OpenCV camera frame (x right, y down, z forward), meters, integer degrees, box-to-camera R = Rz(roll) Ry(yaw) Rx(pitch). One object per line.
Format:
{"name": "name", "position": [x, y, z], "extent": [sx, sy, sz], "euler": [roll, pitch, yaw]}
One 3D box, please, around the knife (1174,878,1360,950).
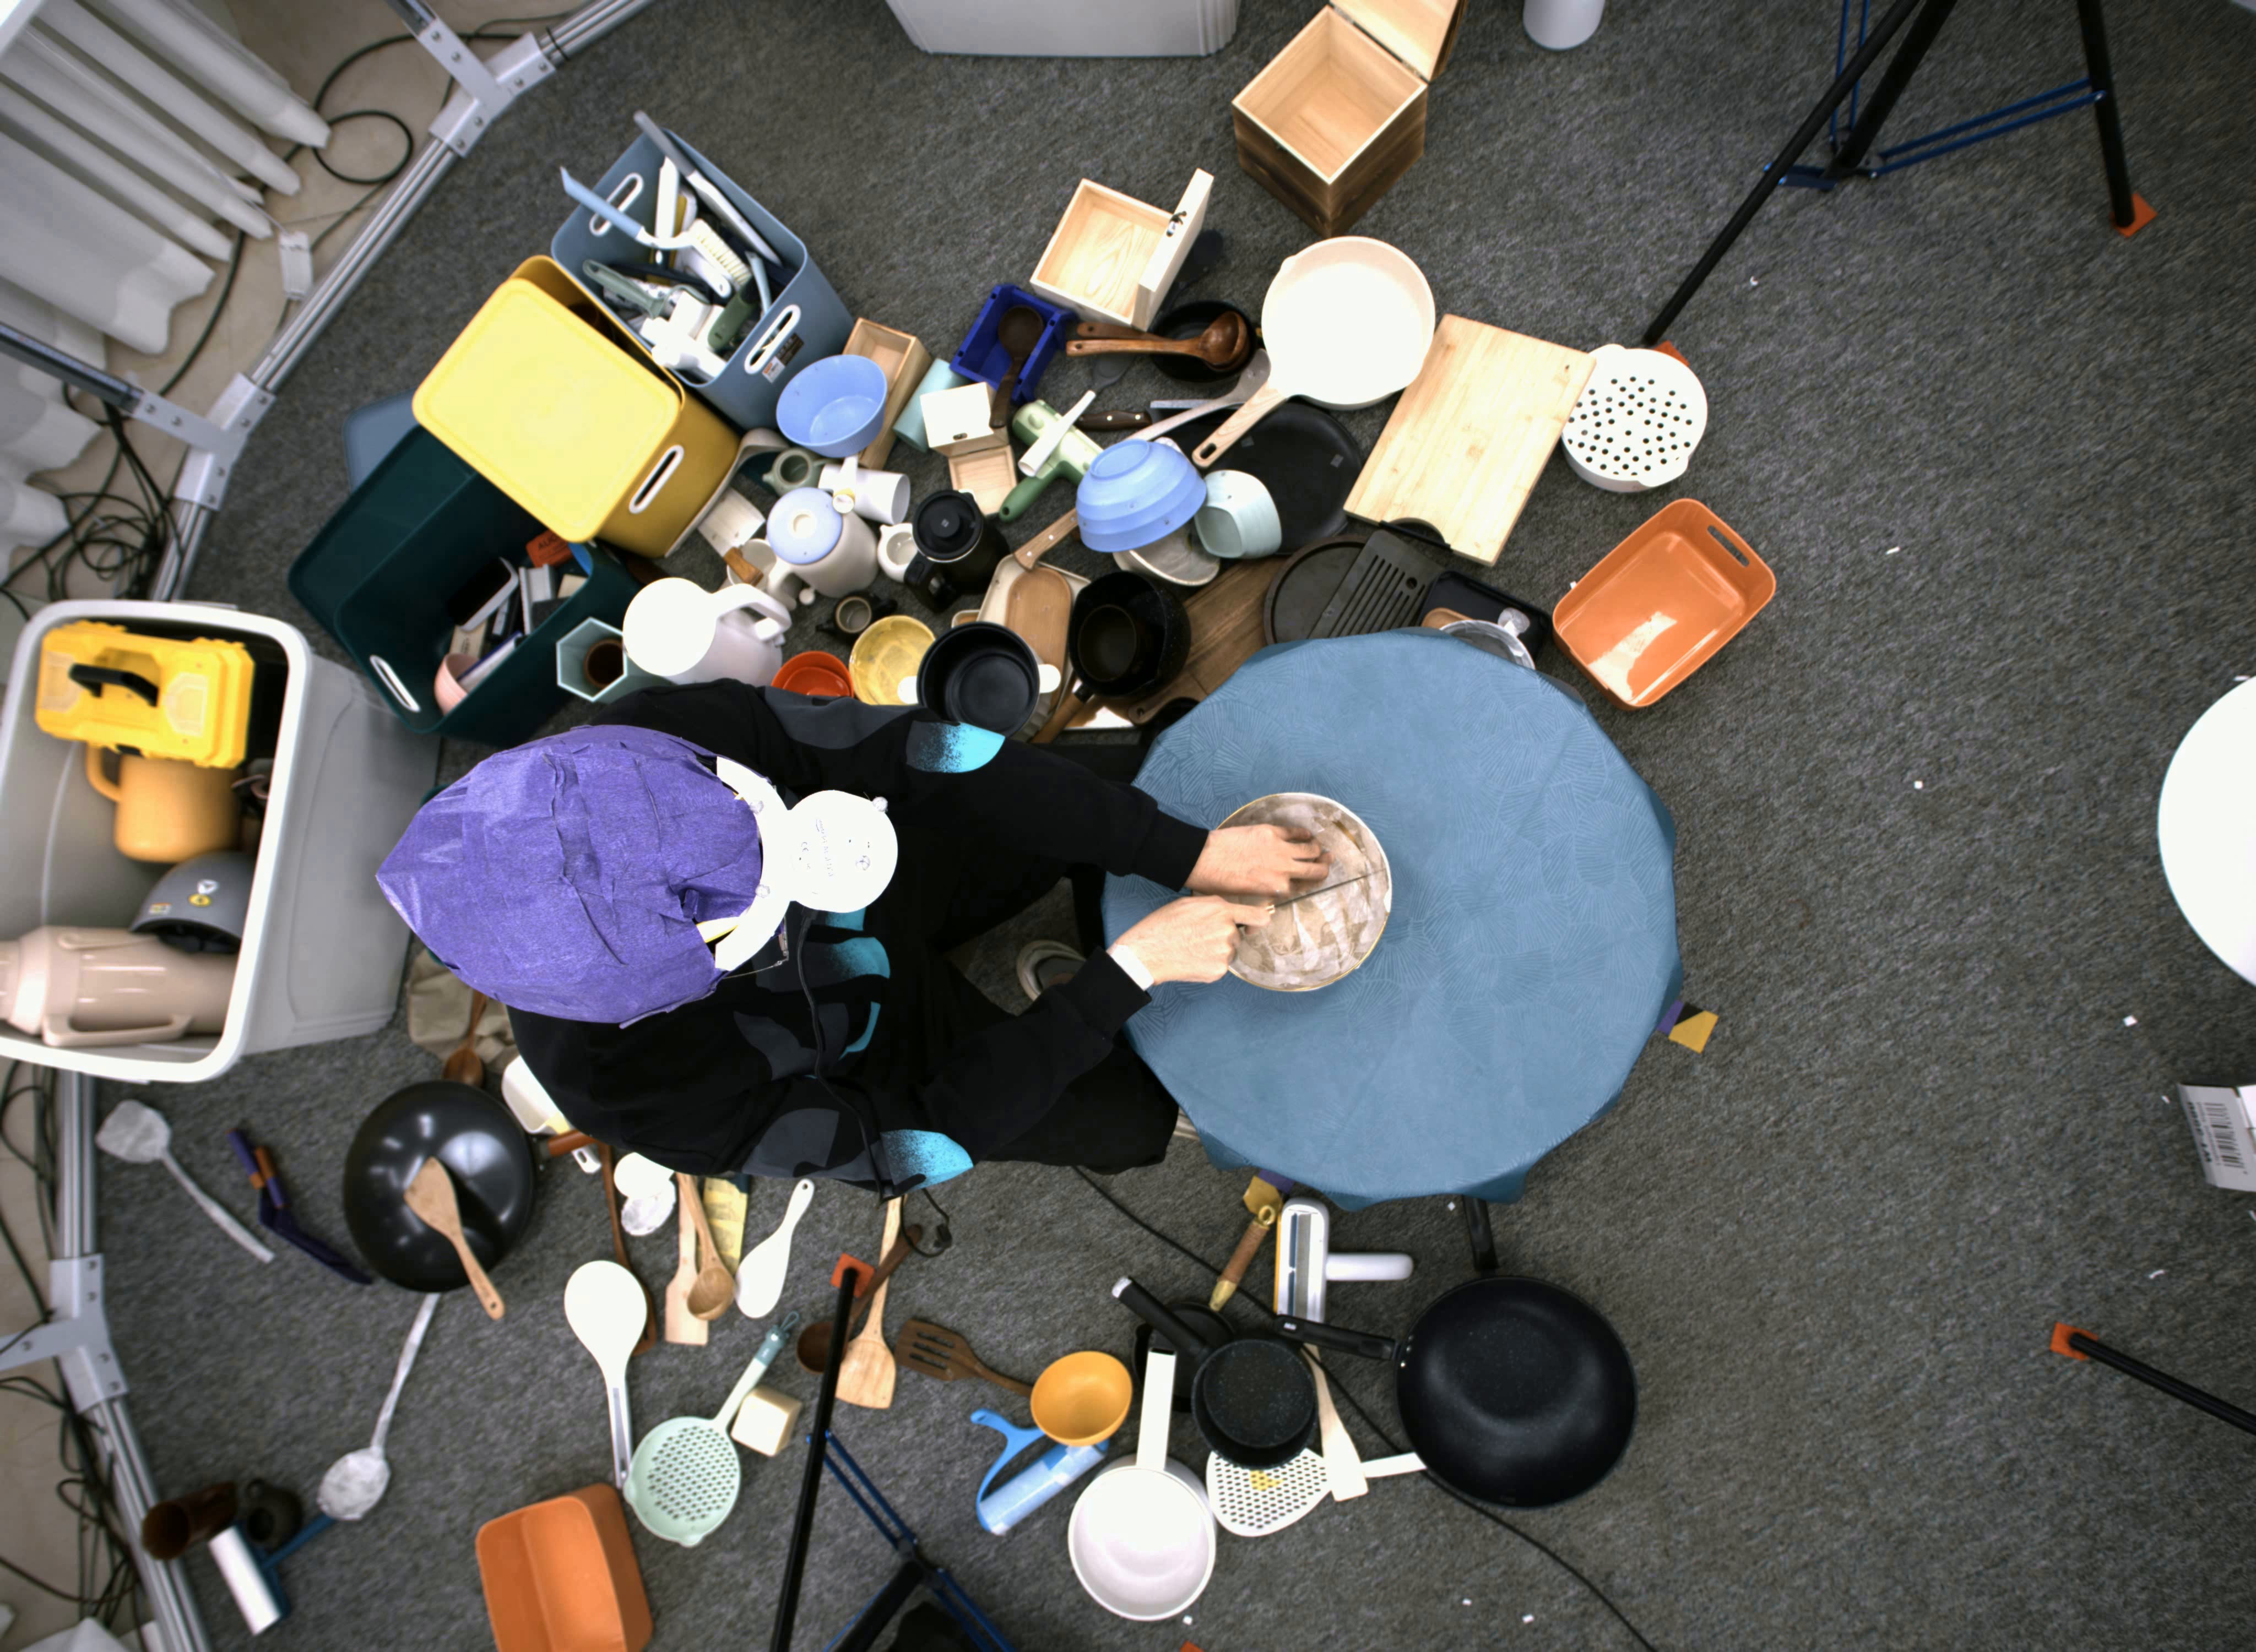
{"name": "knife", "position": [0.144, 0.084, 1.395], "extent": [0.223, 0.027, 0.017], "euler": [-18, 70, -21]}

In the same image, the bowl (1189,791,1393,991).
{"name": "bowl", "position": [0.166, 0.069, 1.430], "extent": [0.215, 0.094, 0.214], "euler": [-1, 87, 9]}
